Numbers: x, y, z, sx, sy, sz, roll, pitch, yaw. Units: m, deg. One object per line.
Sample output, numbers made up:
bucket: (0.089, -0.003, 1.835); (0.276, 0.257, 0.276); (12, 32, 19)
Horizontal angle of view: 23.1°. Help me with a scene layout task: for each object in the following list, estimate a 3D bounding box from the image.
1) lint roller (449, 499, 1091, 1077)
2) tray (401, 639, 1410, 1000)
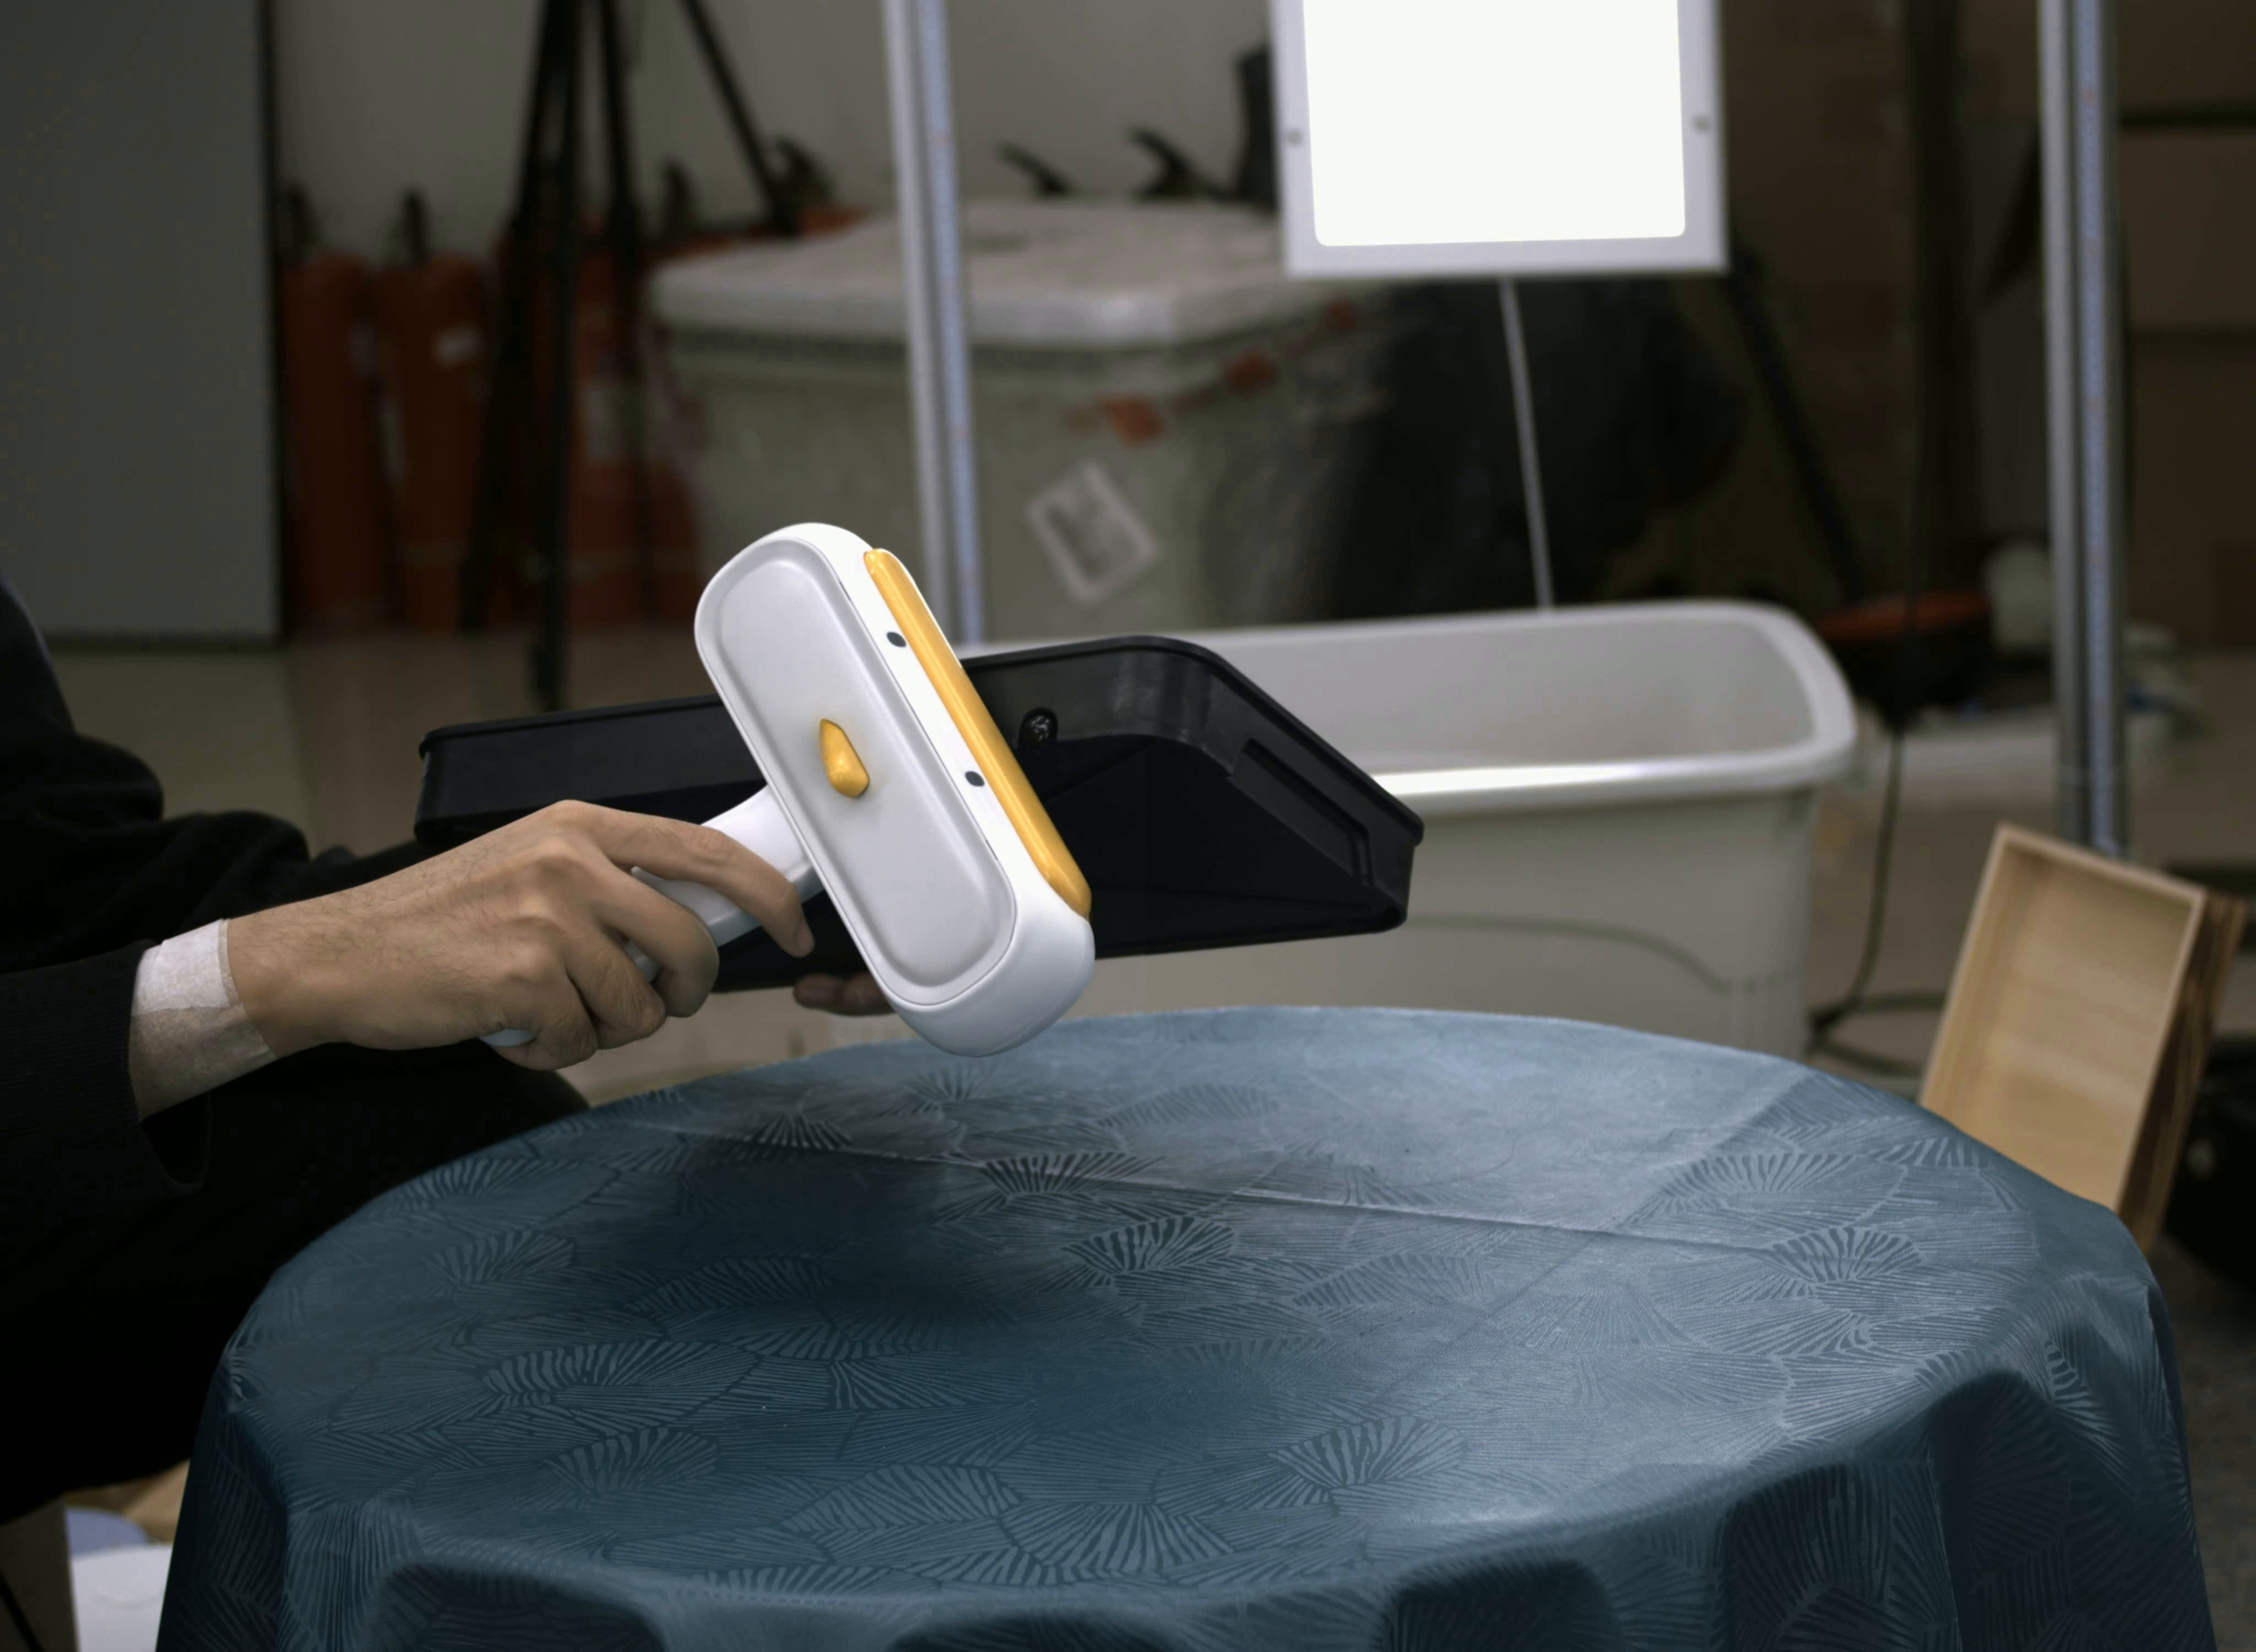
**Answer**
lint roller: (-0.128, 0.013, 1.751); (0.193, 0.194, 0.073); (-38, -23, 8)
tray: (-0.078, 0.003, 1.885); (0.324, 0.037, 0.181); (-6, -25, 31)
